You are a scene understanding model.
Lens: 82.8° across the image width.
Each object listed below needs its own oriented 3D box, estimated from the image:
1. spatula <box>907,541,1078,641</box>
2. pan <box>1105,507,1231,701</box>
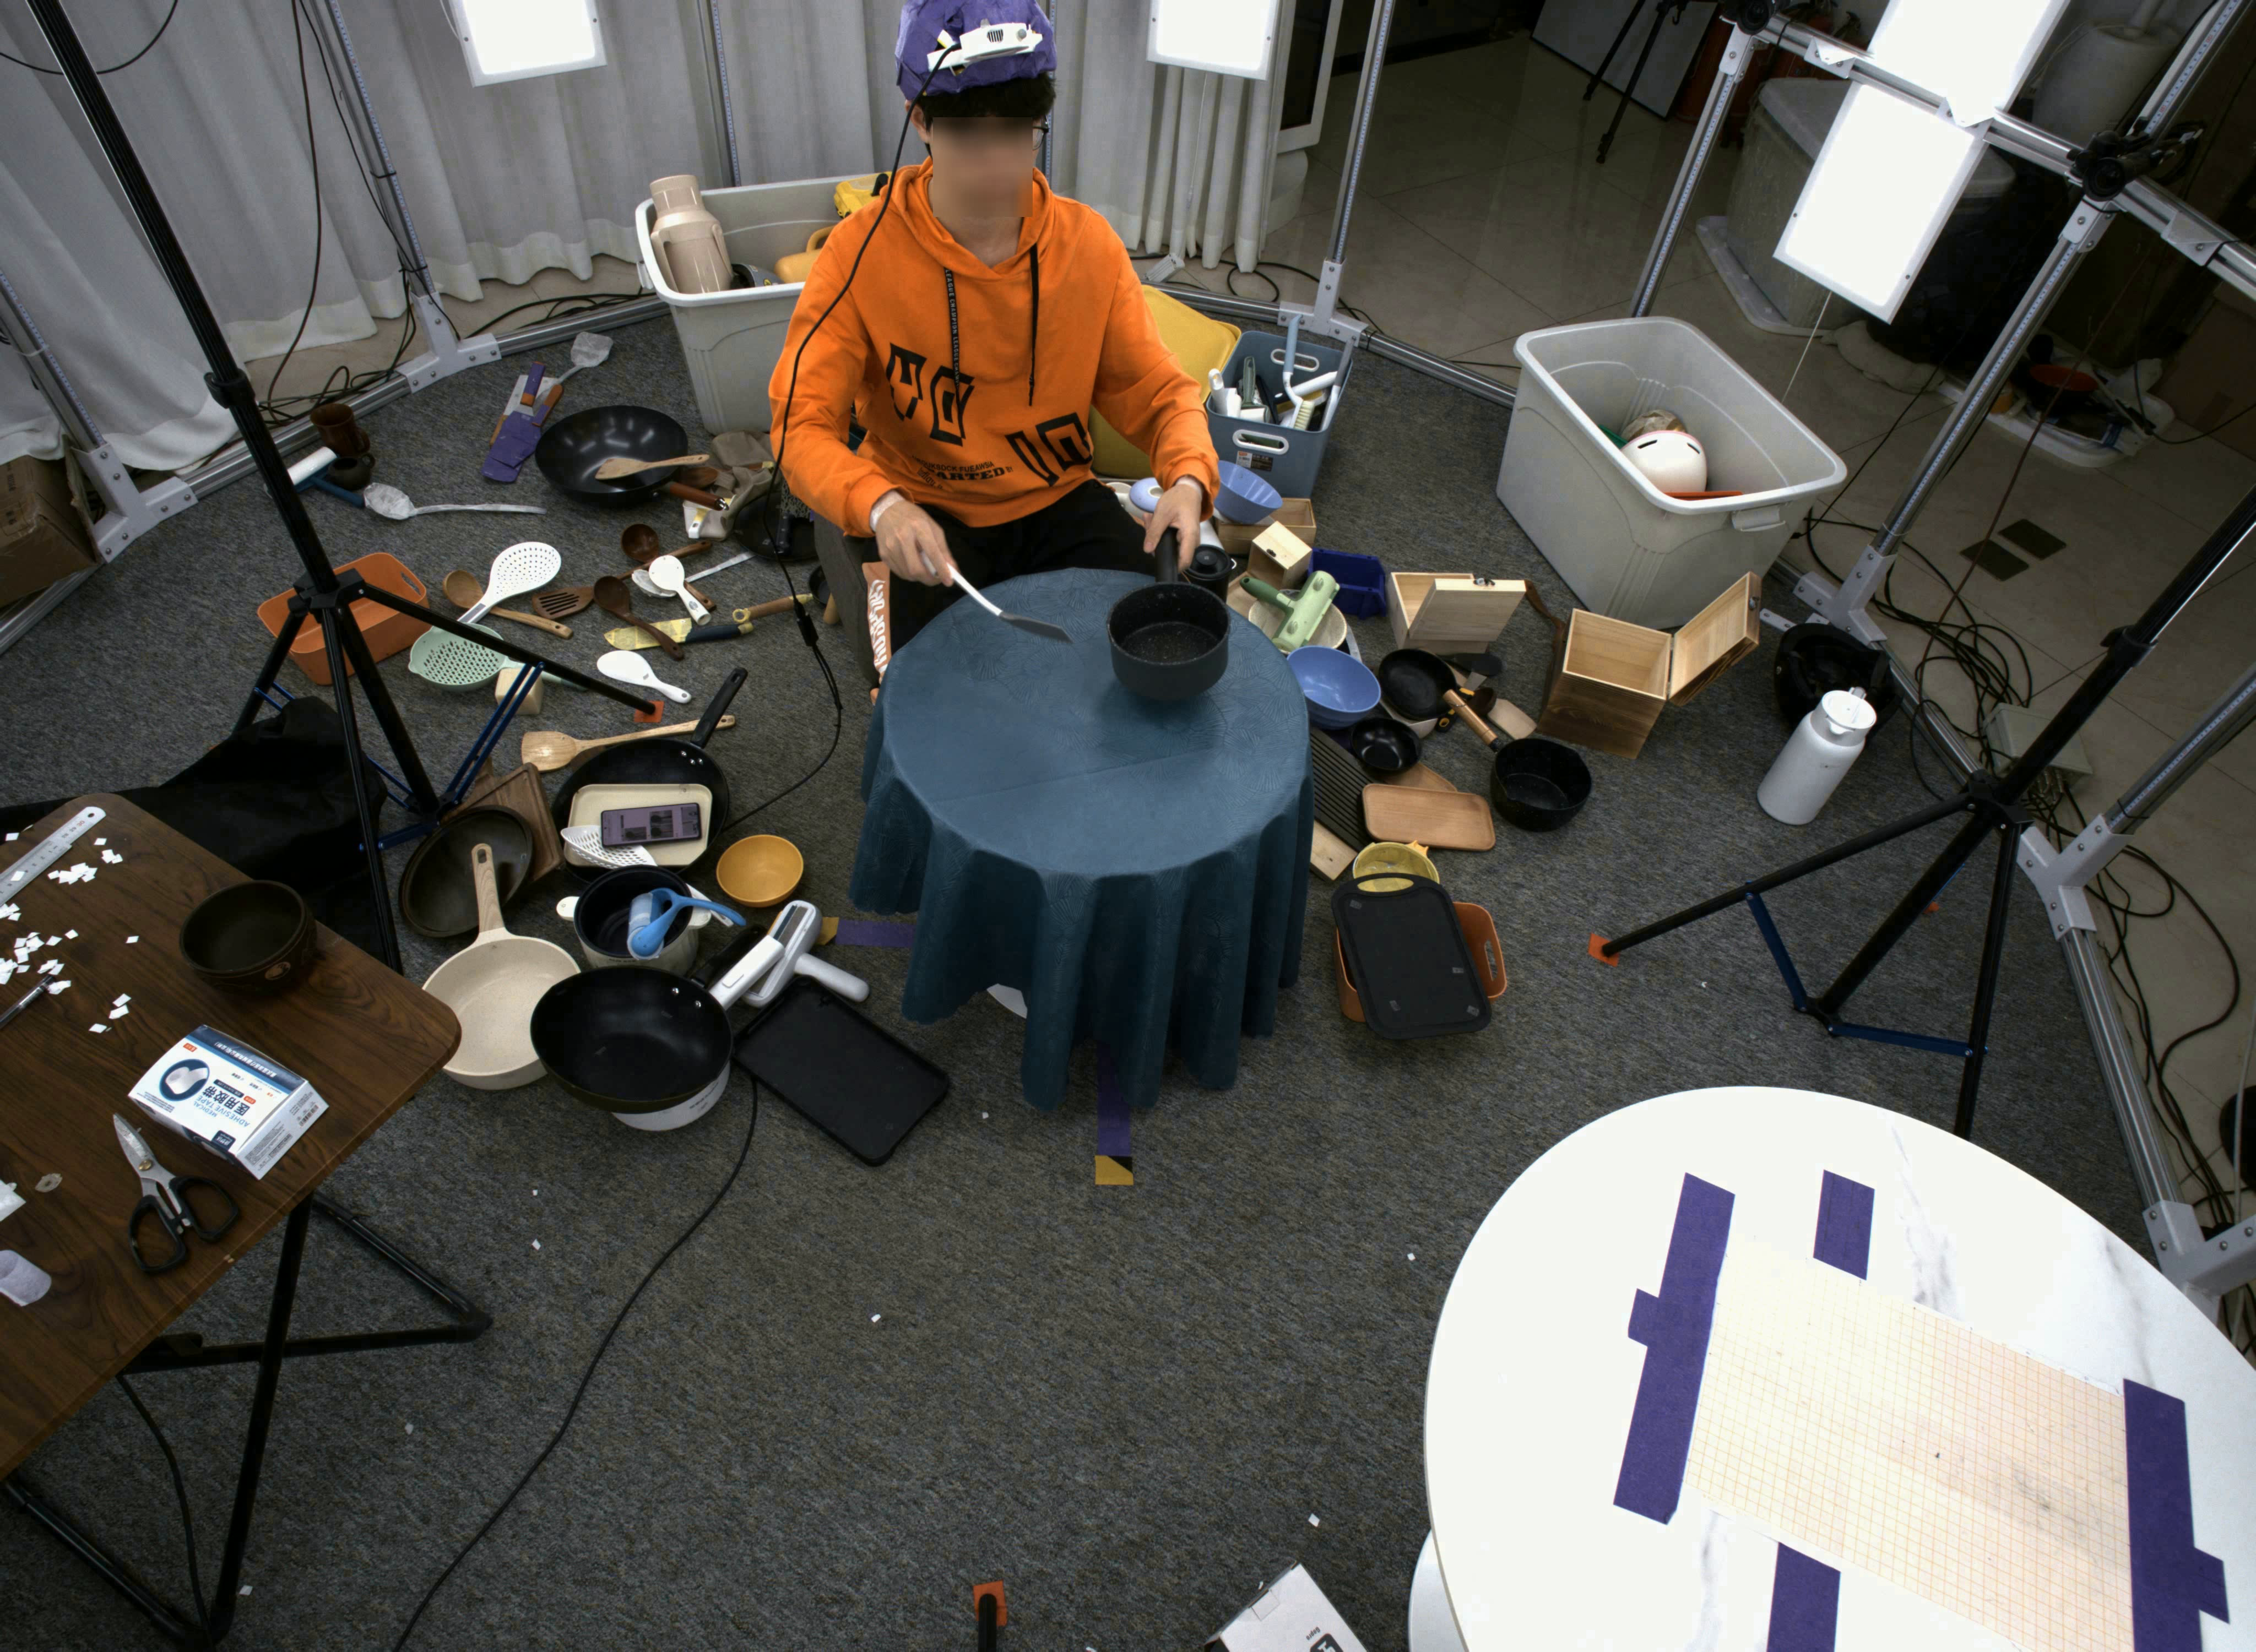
[{"bbox_3d":[-0.185,-0.308,1.720,0.291,0.058,0.032,33,92,26],"label":"spatula"},{"bbox_3d":[0.059,-0.319,1.834,0.172,0.084,0.337,0,50,3],"label":"pan"}]
